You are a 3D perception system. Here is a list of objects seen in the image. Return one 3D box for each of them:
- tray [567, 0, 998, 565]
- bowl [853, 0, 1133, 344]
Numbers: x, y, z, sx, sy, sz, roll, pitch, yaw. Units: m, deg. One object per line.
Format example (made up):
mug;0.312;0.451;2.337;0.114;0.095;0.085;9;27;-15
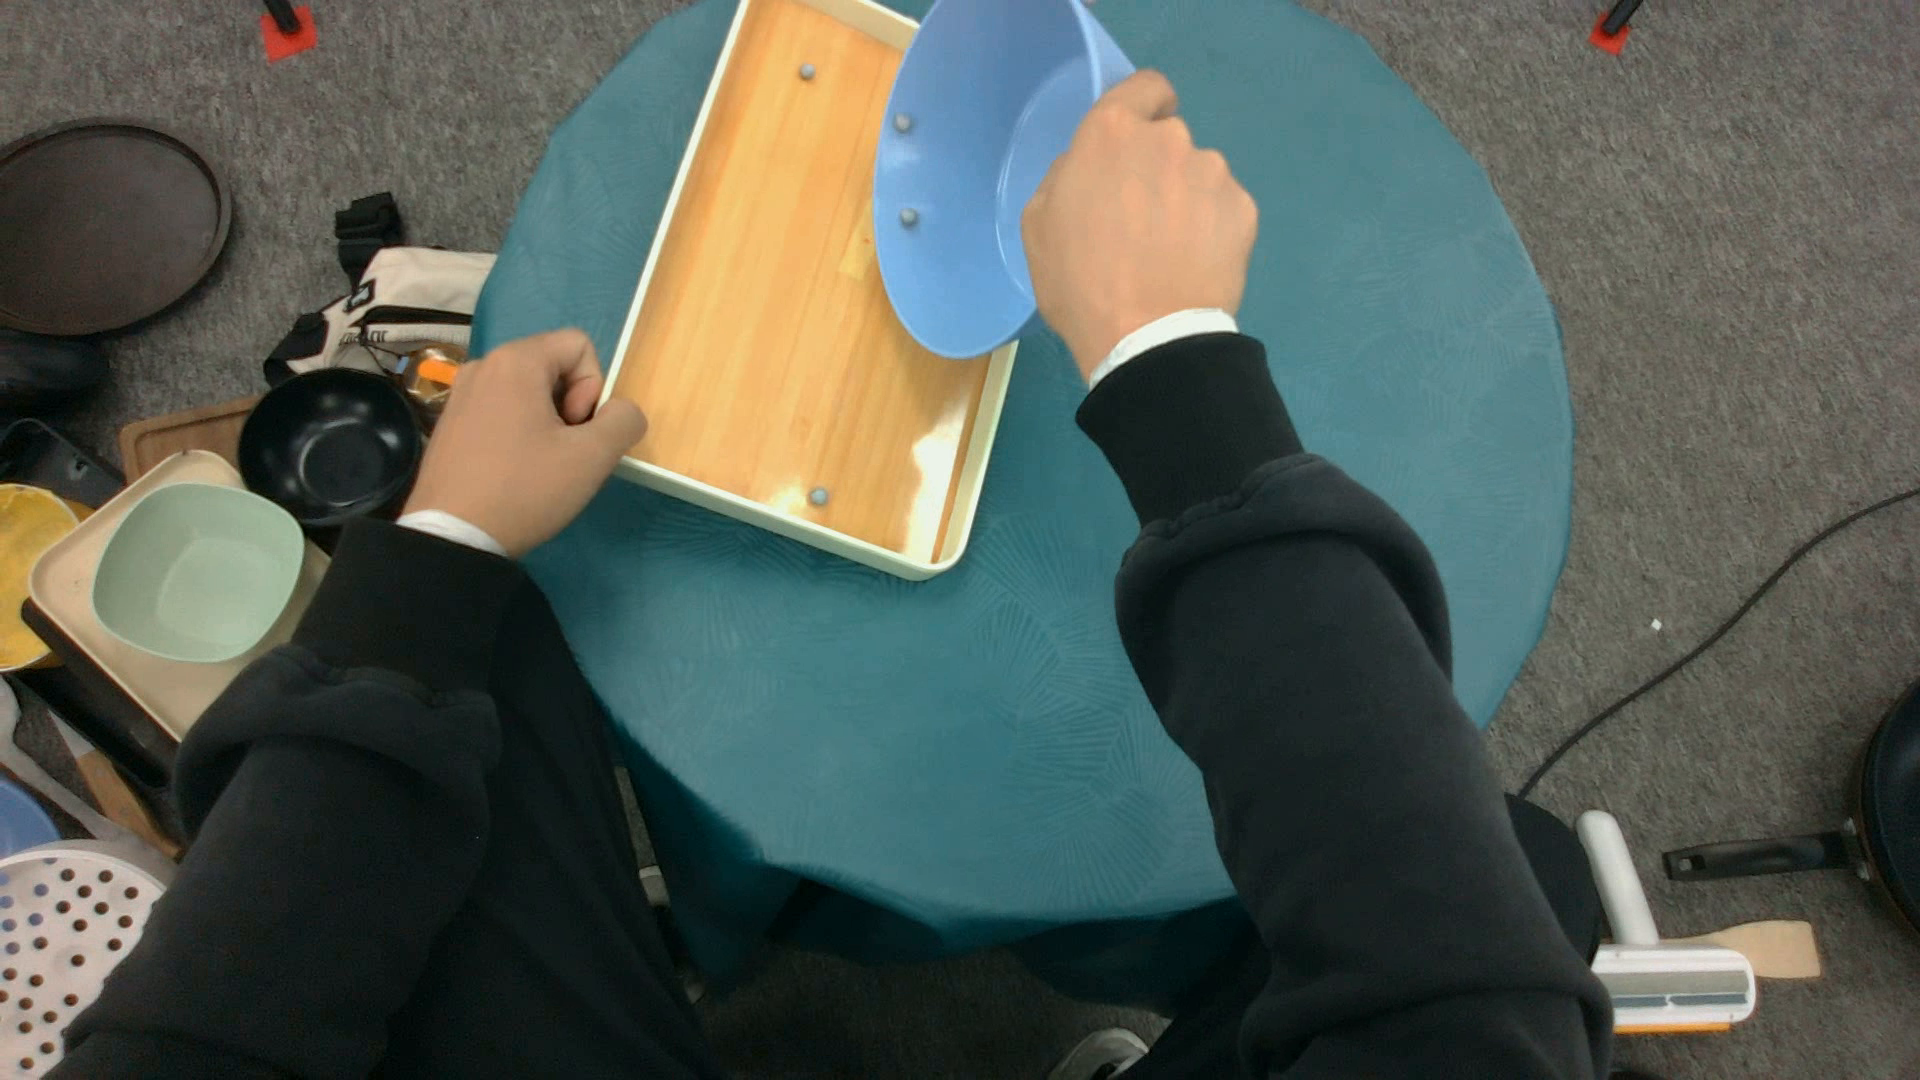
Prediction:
tray;-0.069;-0.151;0.718;0.192;0.027;0.301;20;68;-17
bowl;0.021;-0.178;0.654;0.070;0.175;0.176;1;68;-35
